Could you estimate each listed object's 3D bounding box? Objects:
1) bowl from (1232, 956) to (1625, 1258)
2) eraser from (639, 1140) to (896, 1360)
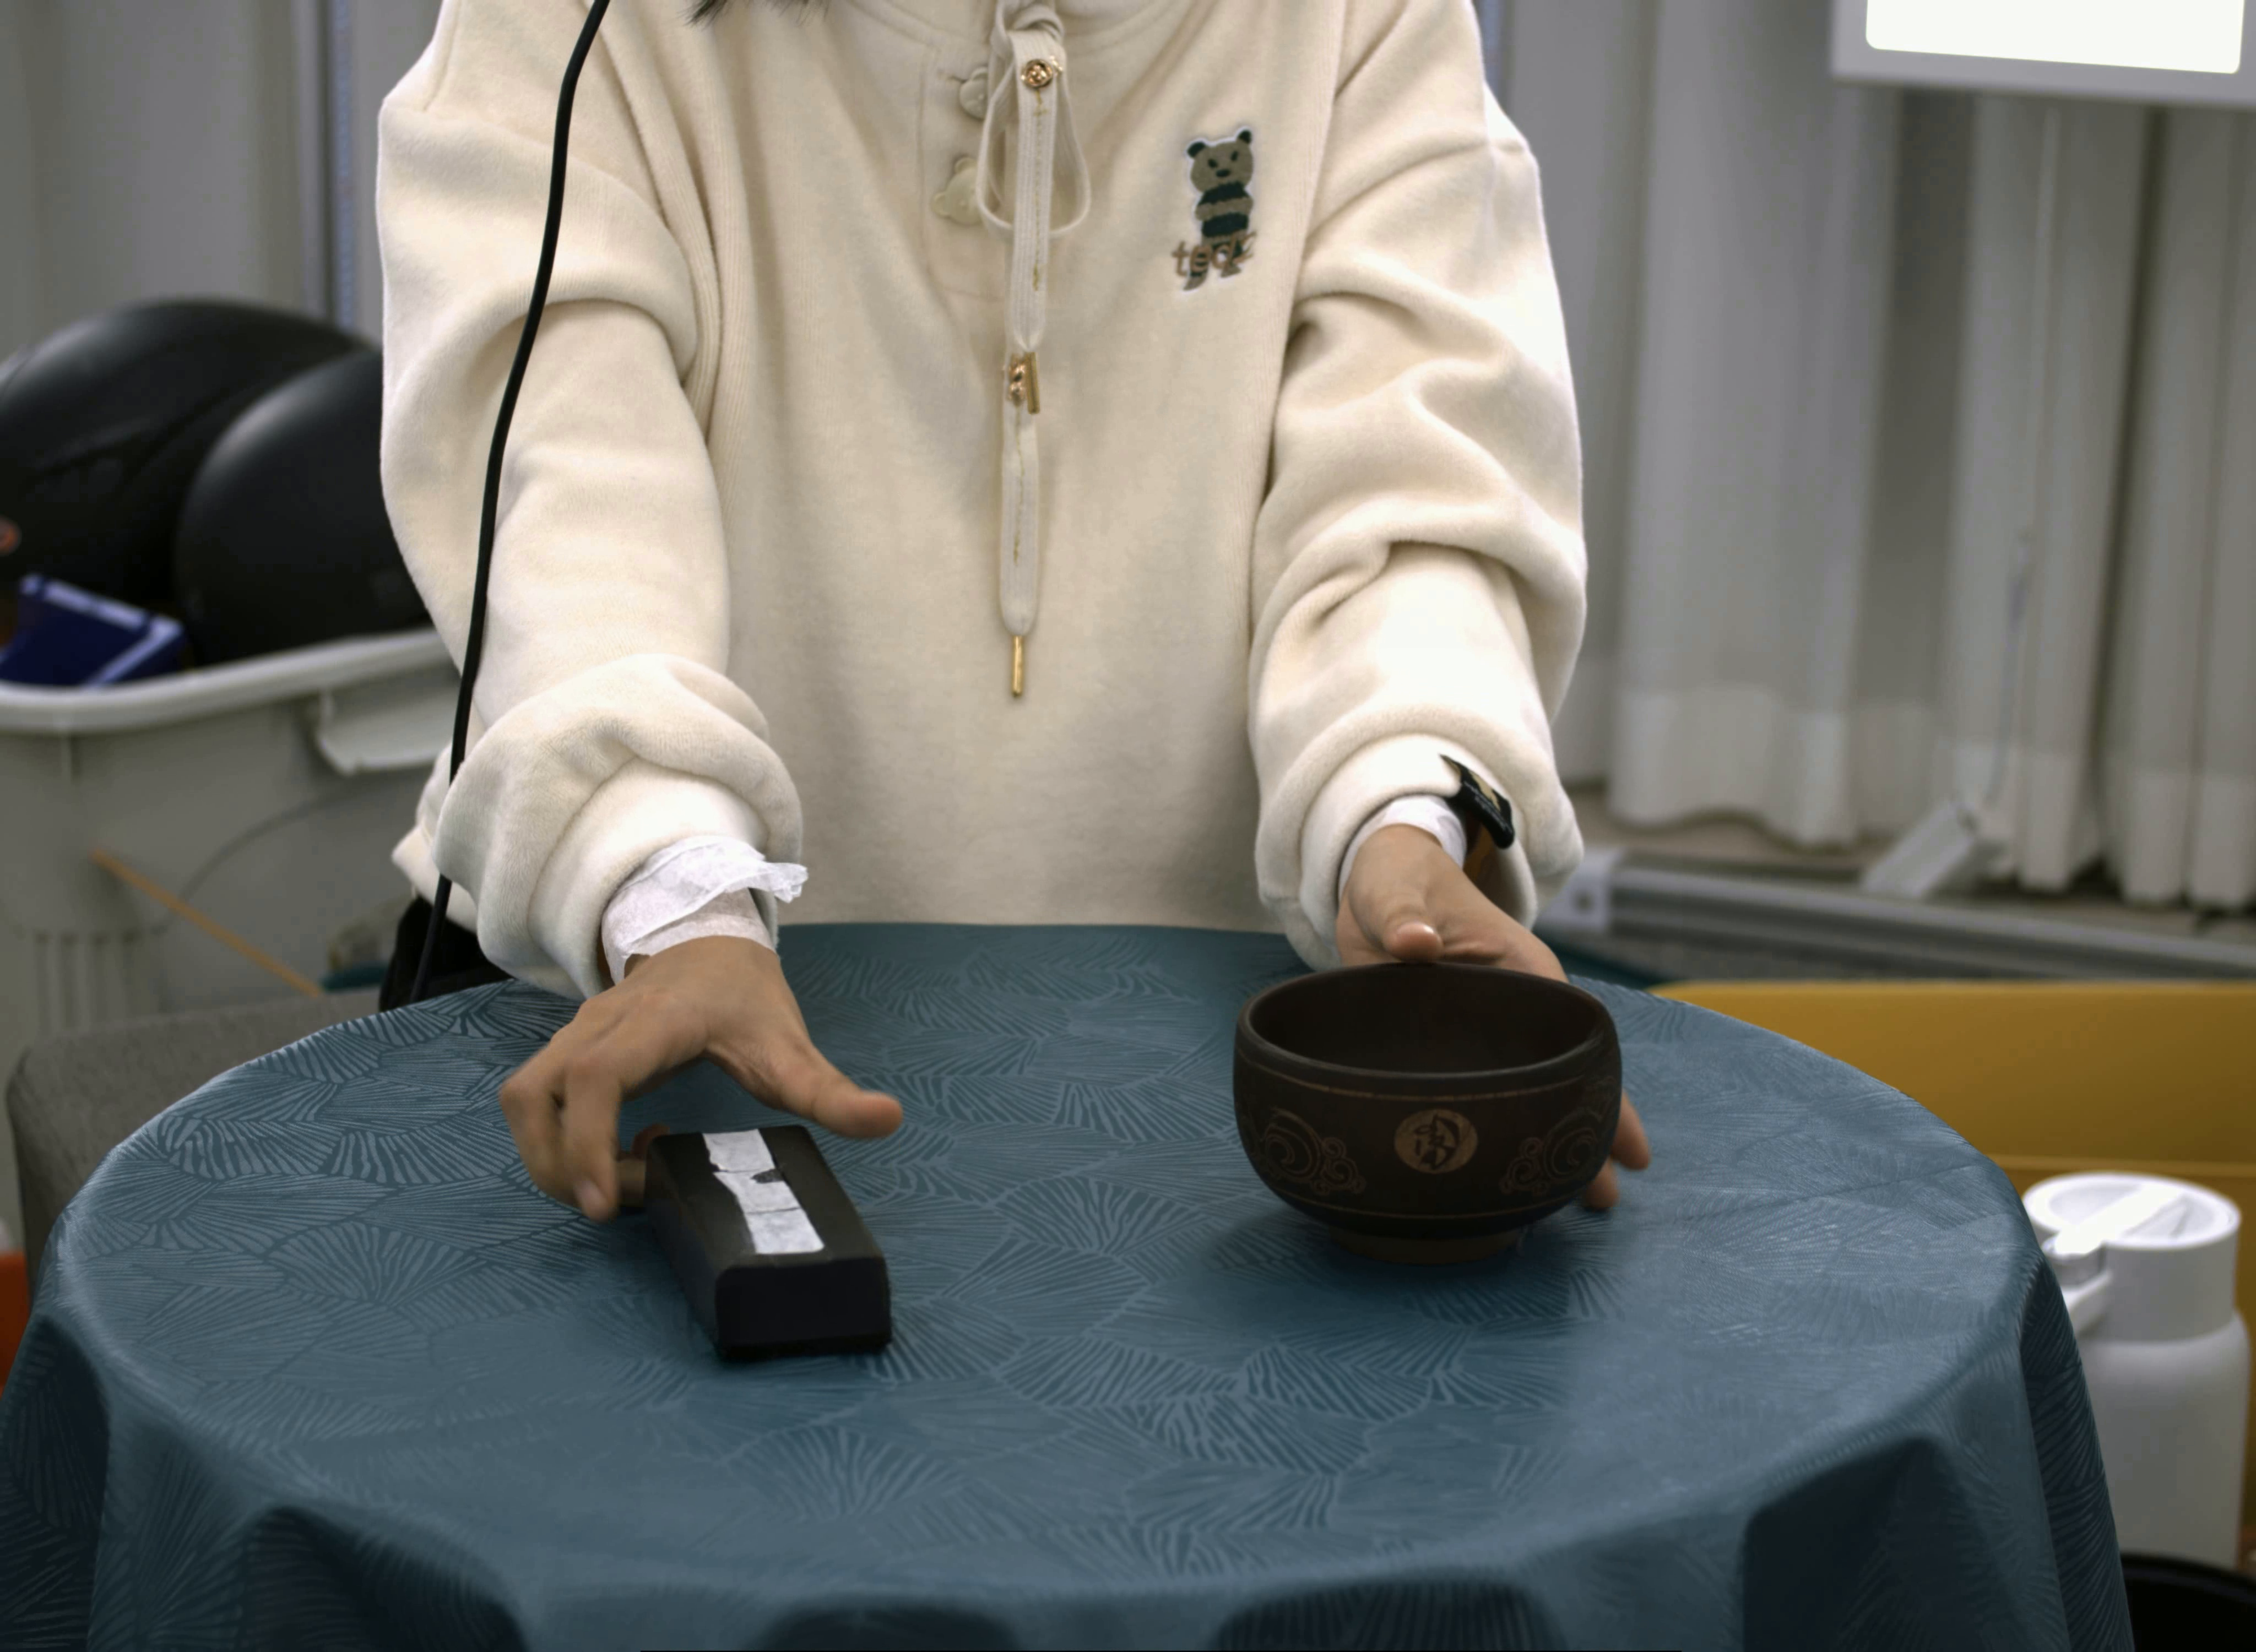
[{"bbox_3d":[0.090,0.088,1.577,0.117,0.070,0.117,0,15,1],"label":"bowl"},{"bbox_3d":[-0.106,0.122,1.532,0.053,0.030,0.124,-2,14,-15],"label":"eraser"}]
